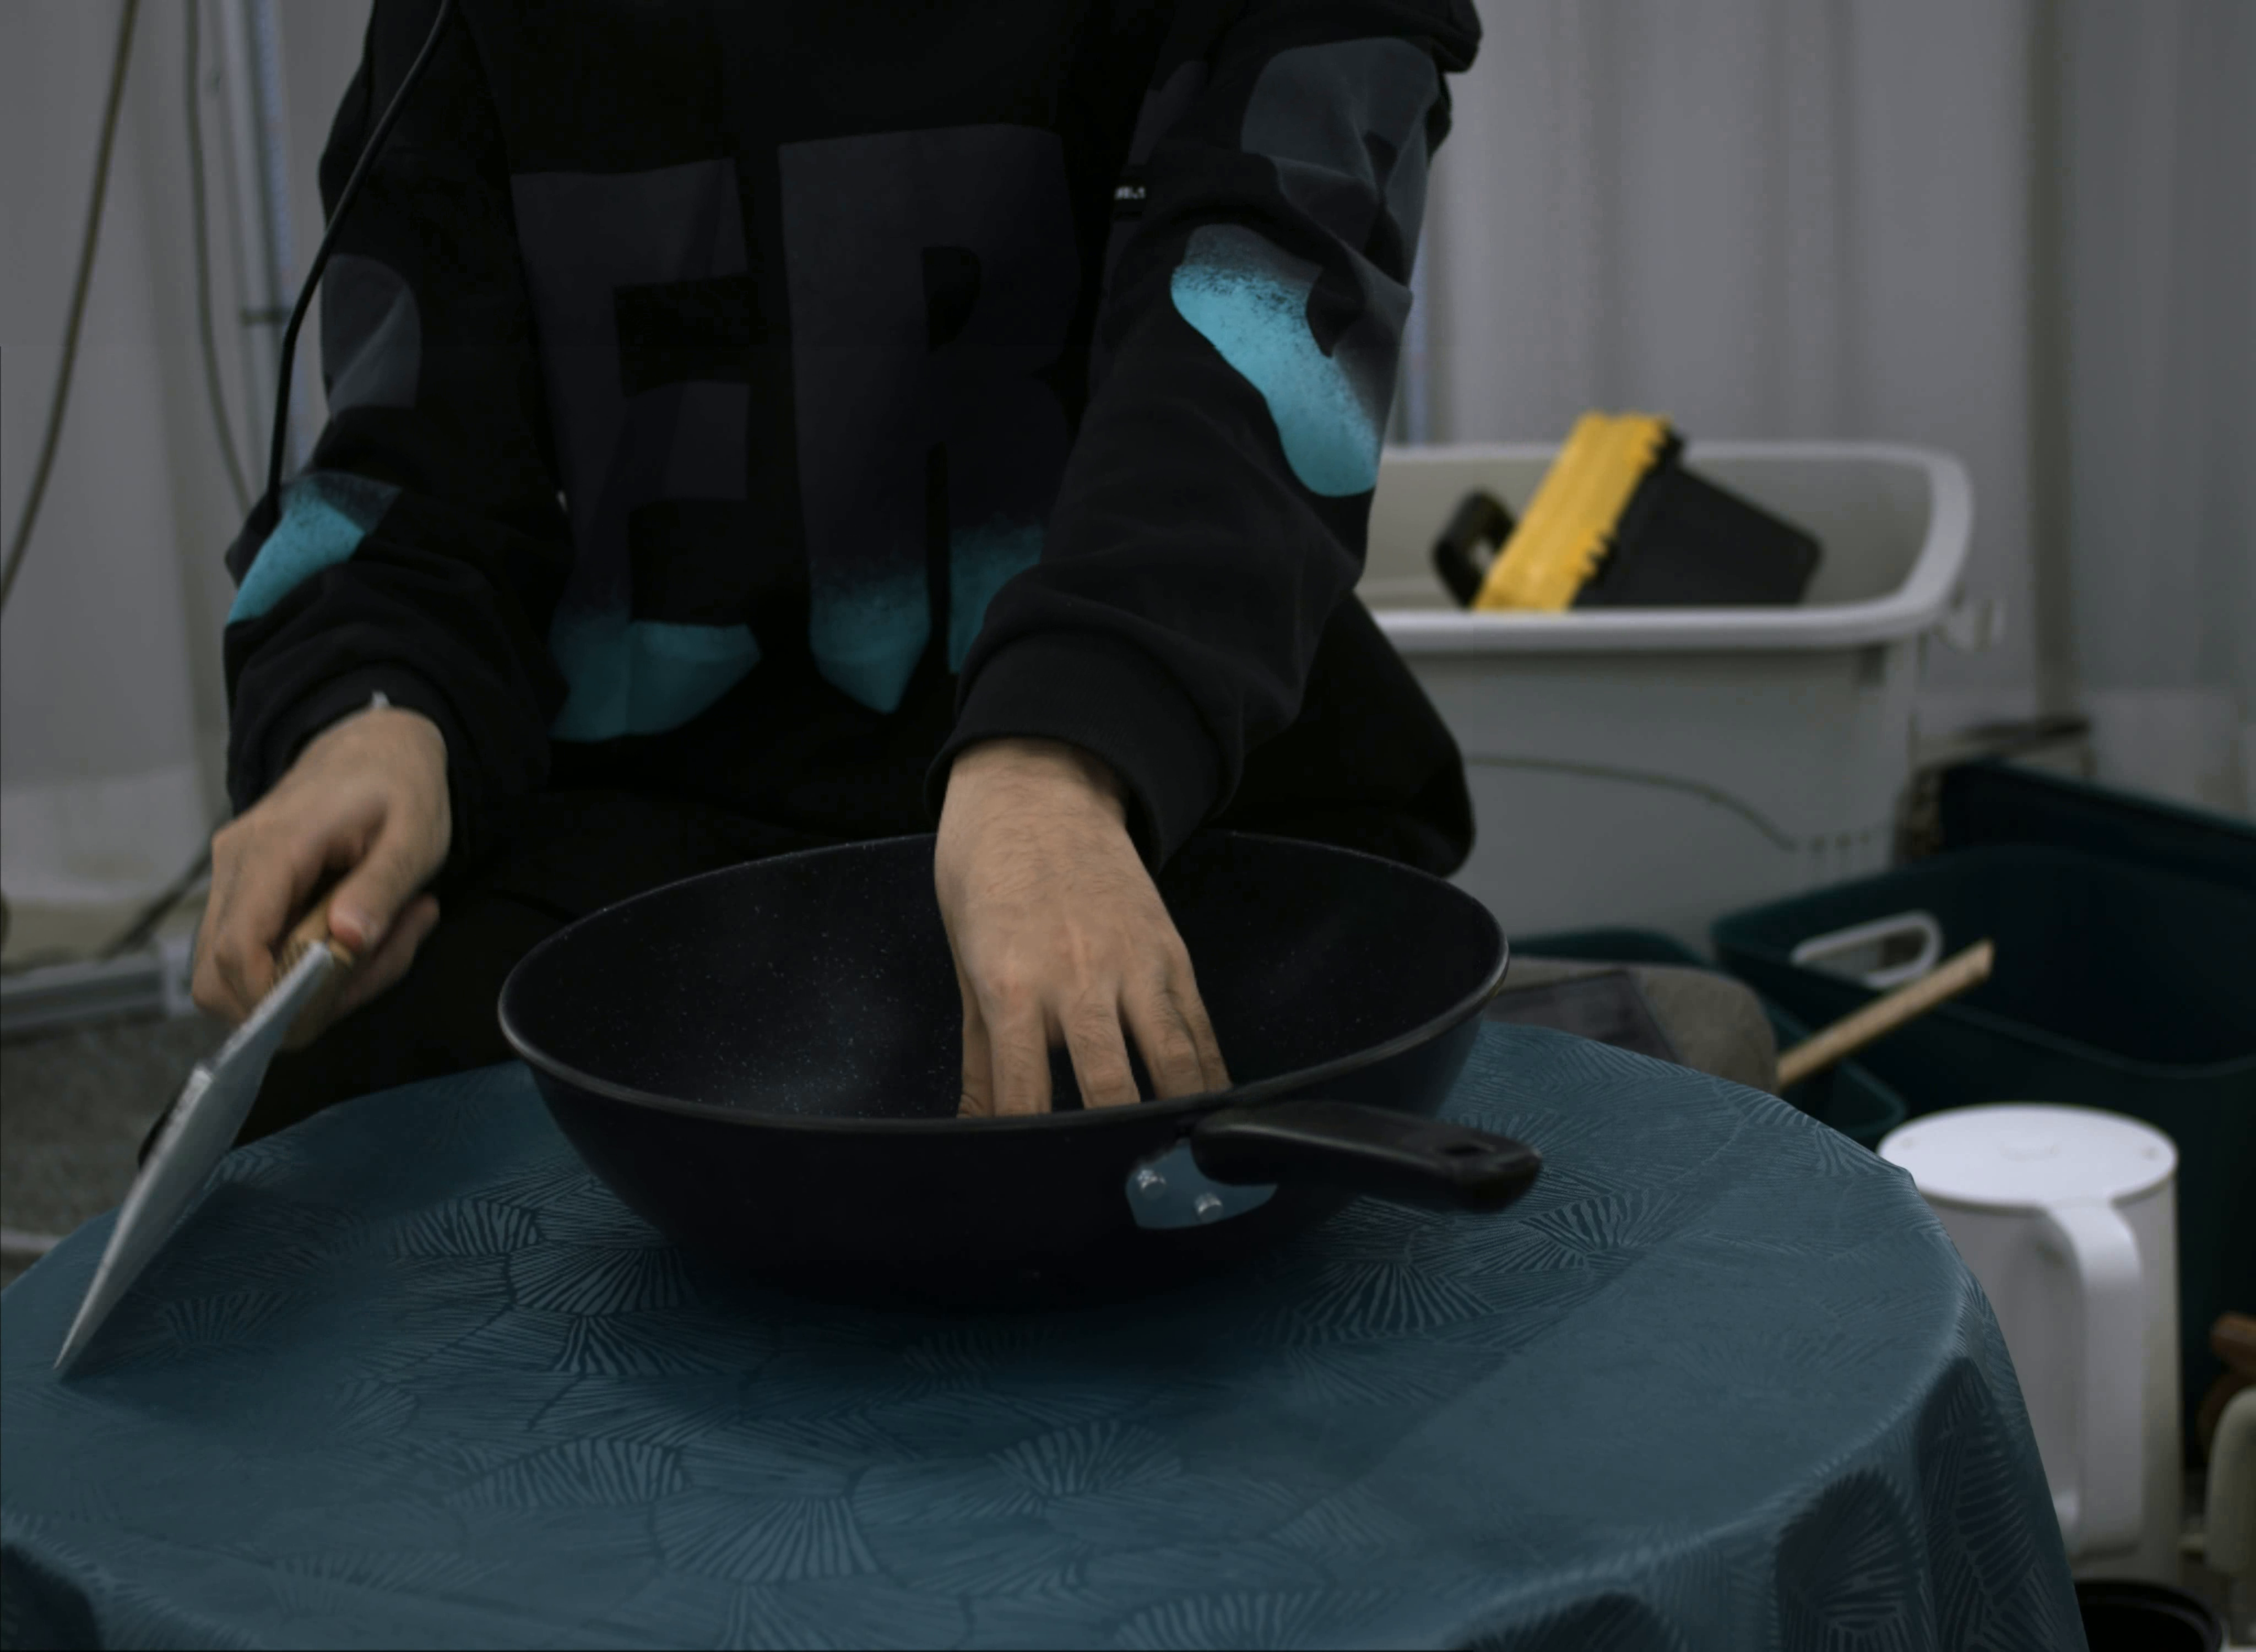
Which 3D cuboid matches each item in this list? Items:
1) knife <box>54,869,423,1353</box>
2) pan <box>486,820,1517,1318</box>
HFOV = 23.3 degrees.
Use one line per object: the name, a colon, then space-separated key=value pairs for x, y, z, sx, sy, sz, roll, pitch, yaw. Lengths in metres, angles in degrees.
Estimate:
knife: x=-0.273 y=0.076 z=1.729 sx=0.021 sy=0.113 sz=0.317 roll=30 pitch=19 yaw=-3
pan: x=-0.005 y=0.089 z=1.610 sx=0.309 sy=0.111 sz=0.480 roll=-11 pitch=17 yaw=-23
